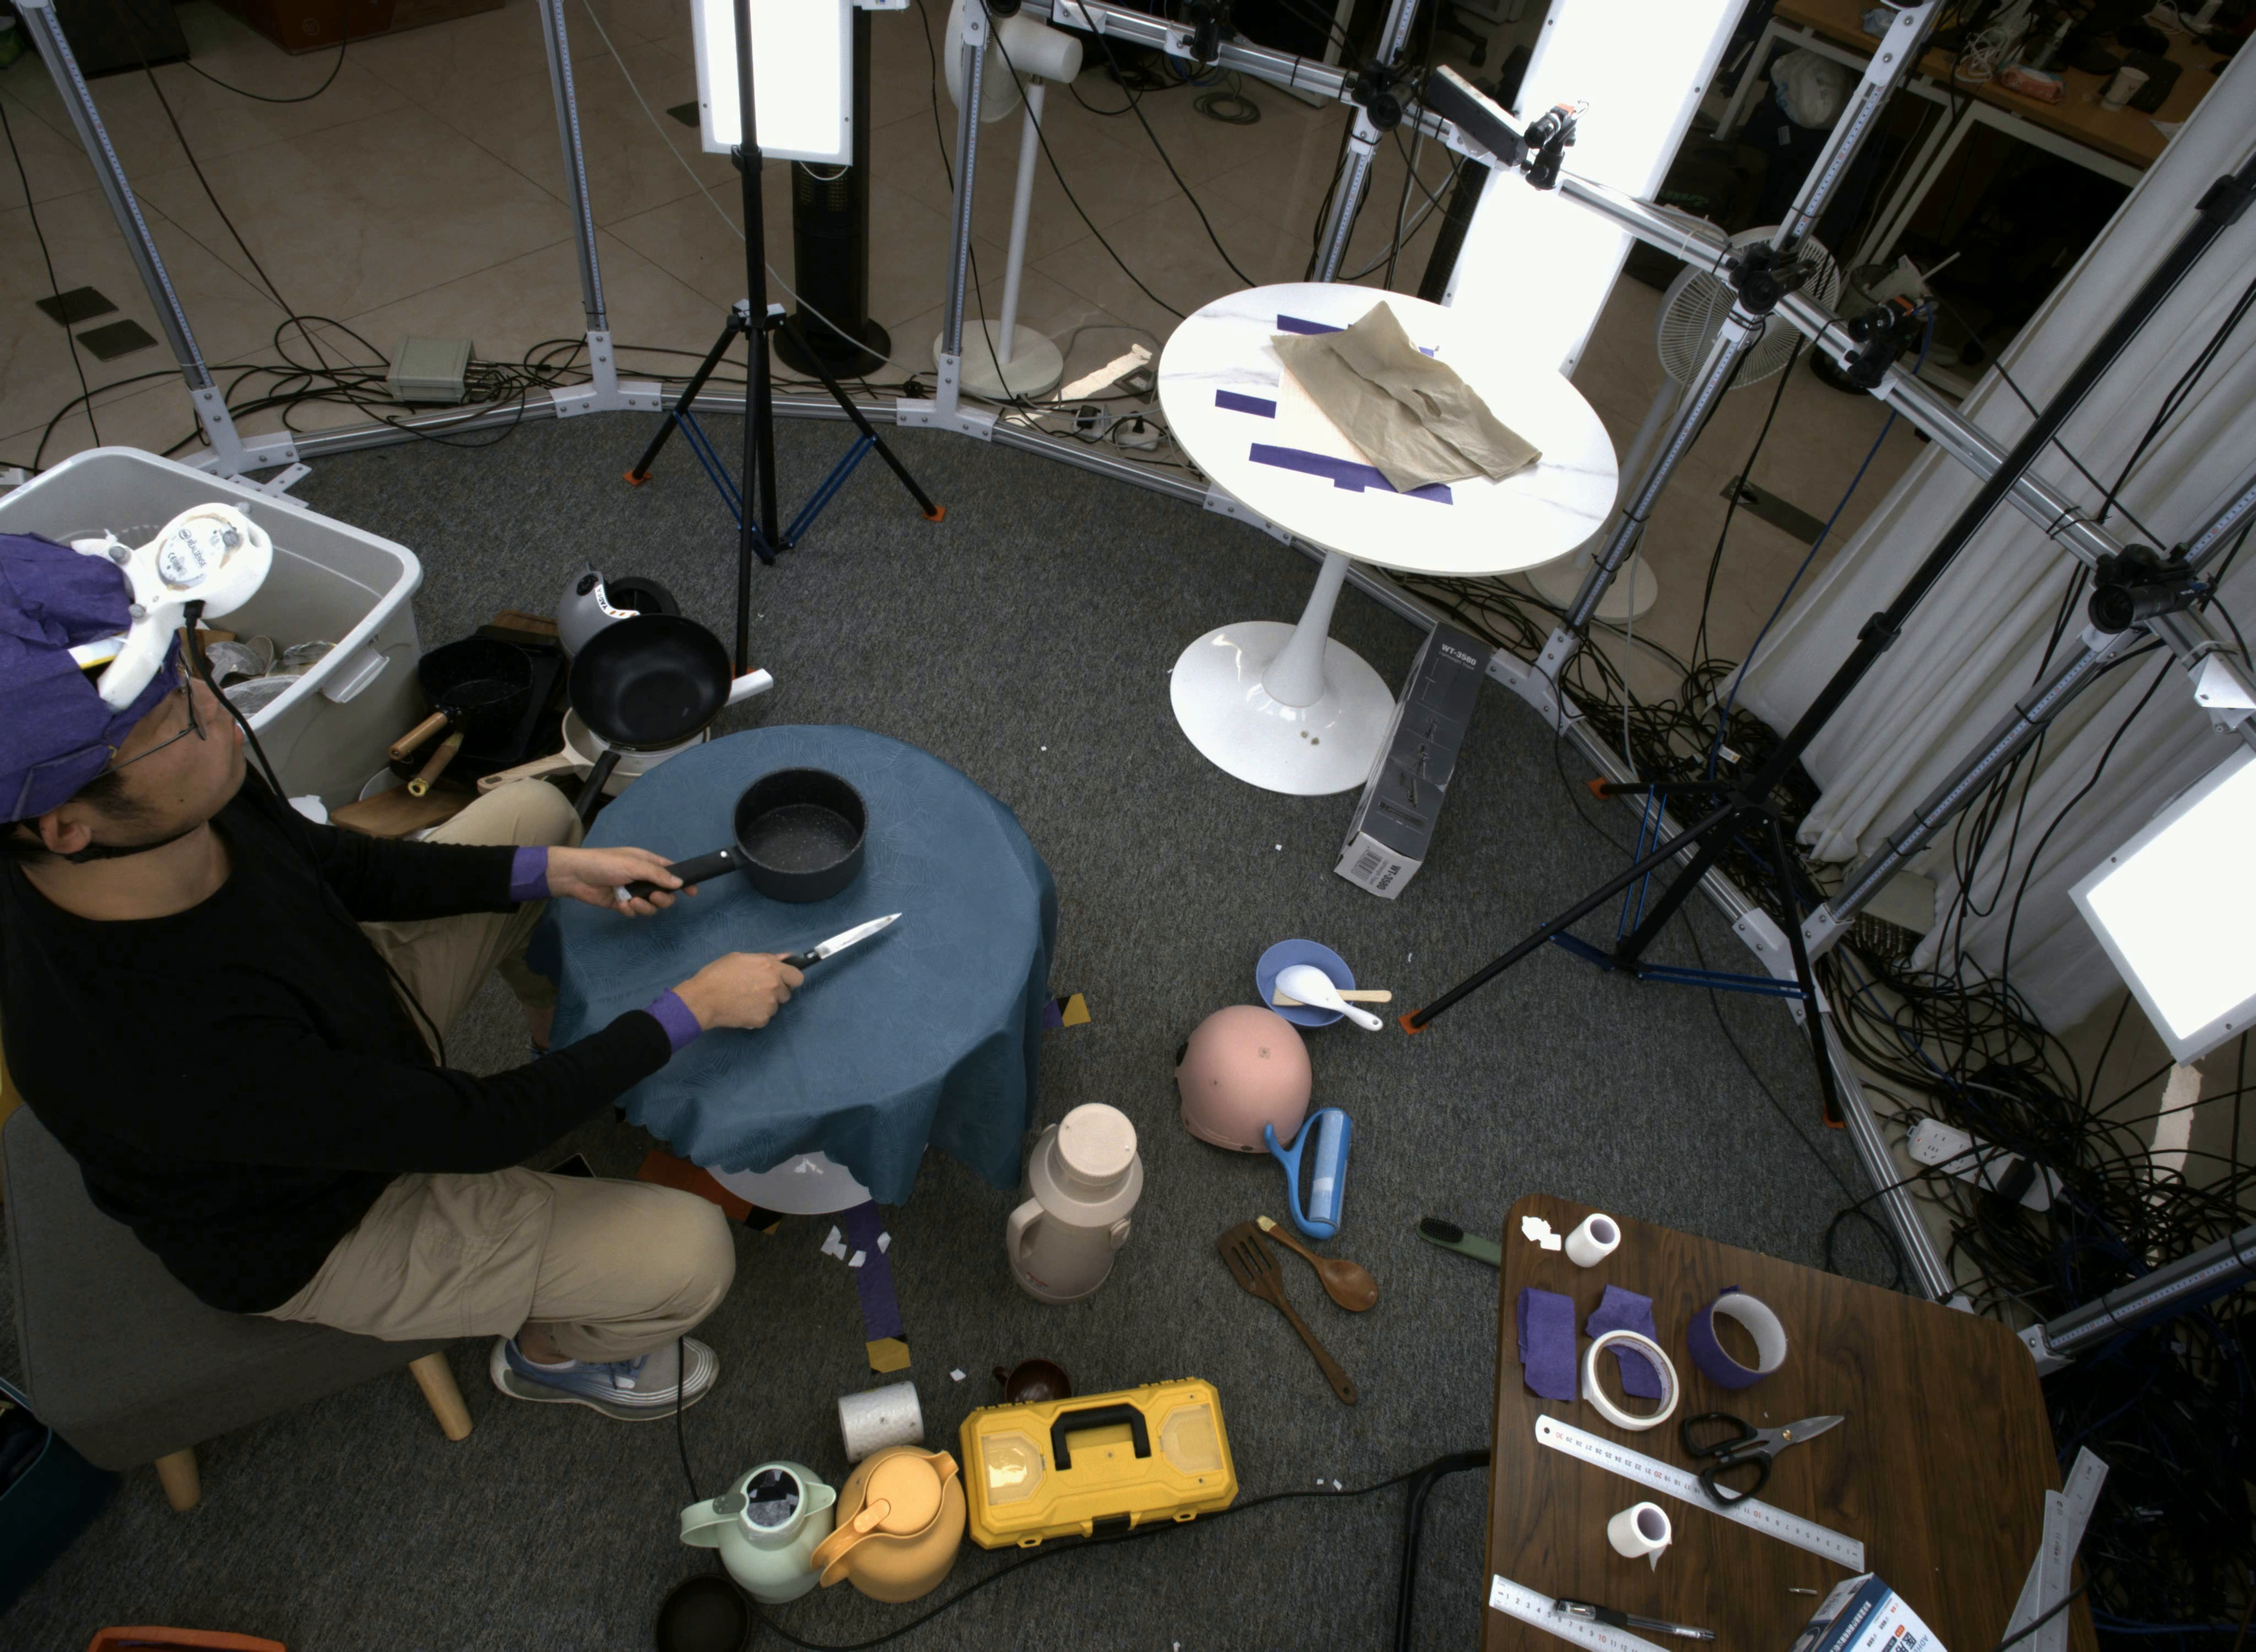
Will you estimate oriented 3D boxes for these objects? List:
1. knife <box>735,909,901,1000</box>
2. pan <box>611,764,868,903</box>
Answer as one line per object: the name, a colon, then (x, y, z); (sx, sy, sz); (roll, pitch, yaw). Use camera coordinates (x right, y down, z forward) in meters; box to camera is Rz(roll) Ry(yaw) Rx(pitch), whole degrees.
knife: (-0.370, 0.151, 1.578); (0.239, 0.017, 0.024); (-28, 60, -37)
pan: (-0.484, 0.037, 1.623); (0.330, 0.088, 0.168); (-22, 61, -29)
